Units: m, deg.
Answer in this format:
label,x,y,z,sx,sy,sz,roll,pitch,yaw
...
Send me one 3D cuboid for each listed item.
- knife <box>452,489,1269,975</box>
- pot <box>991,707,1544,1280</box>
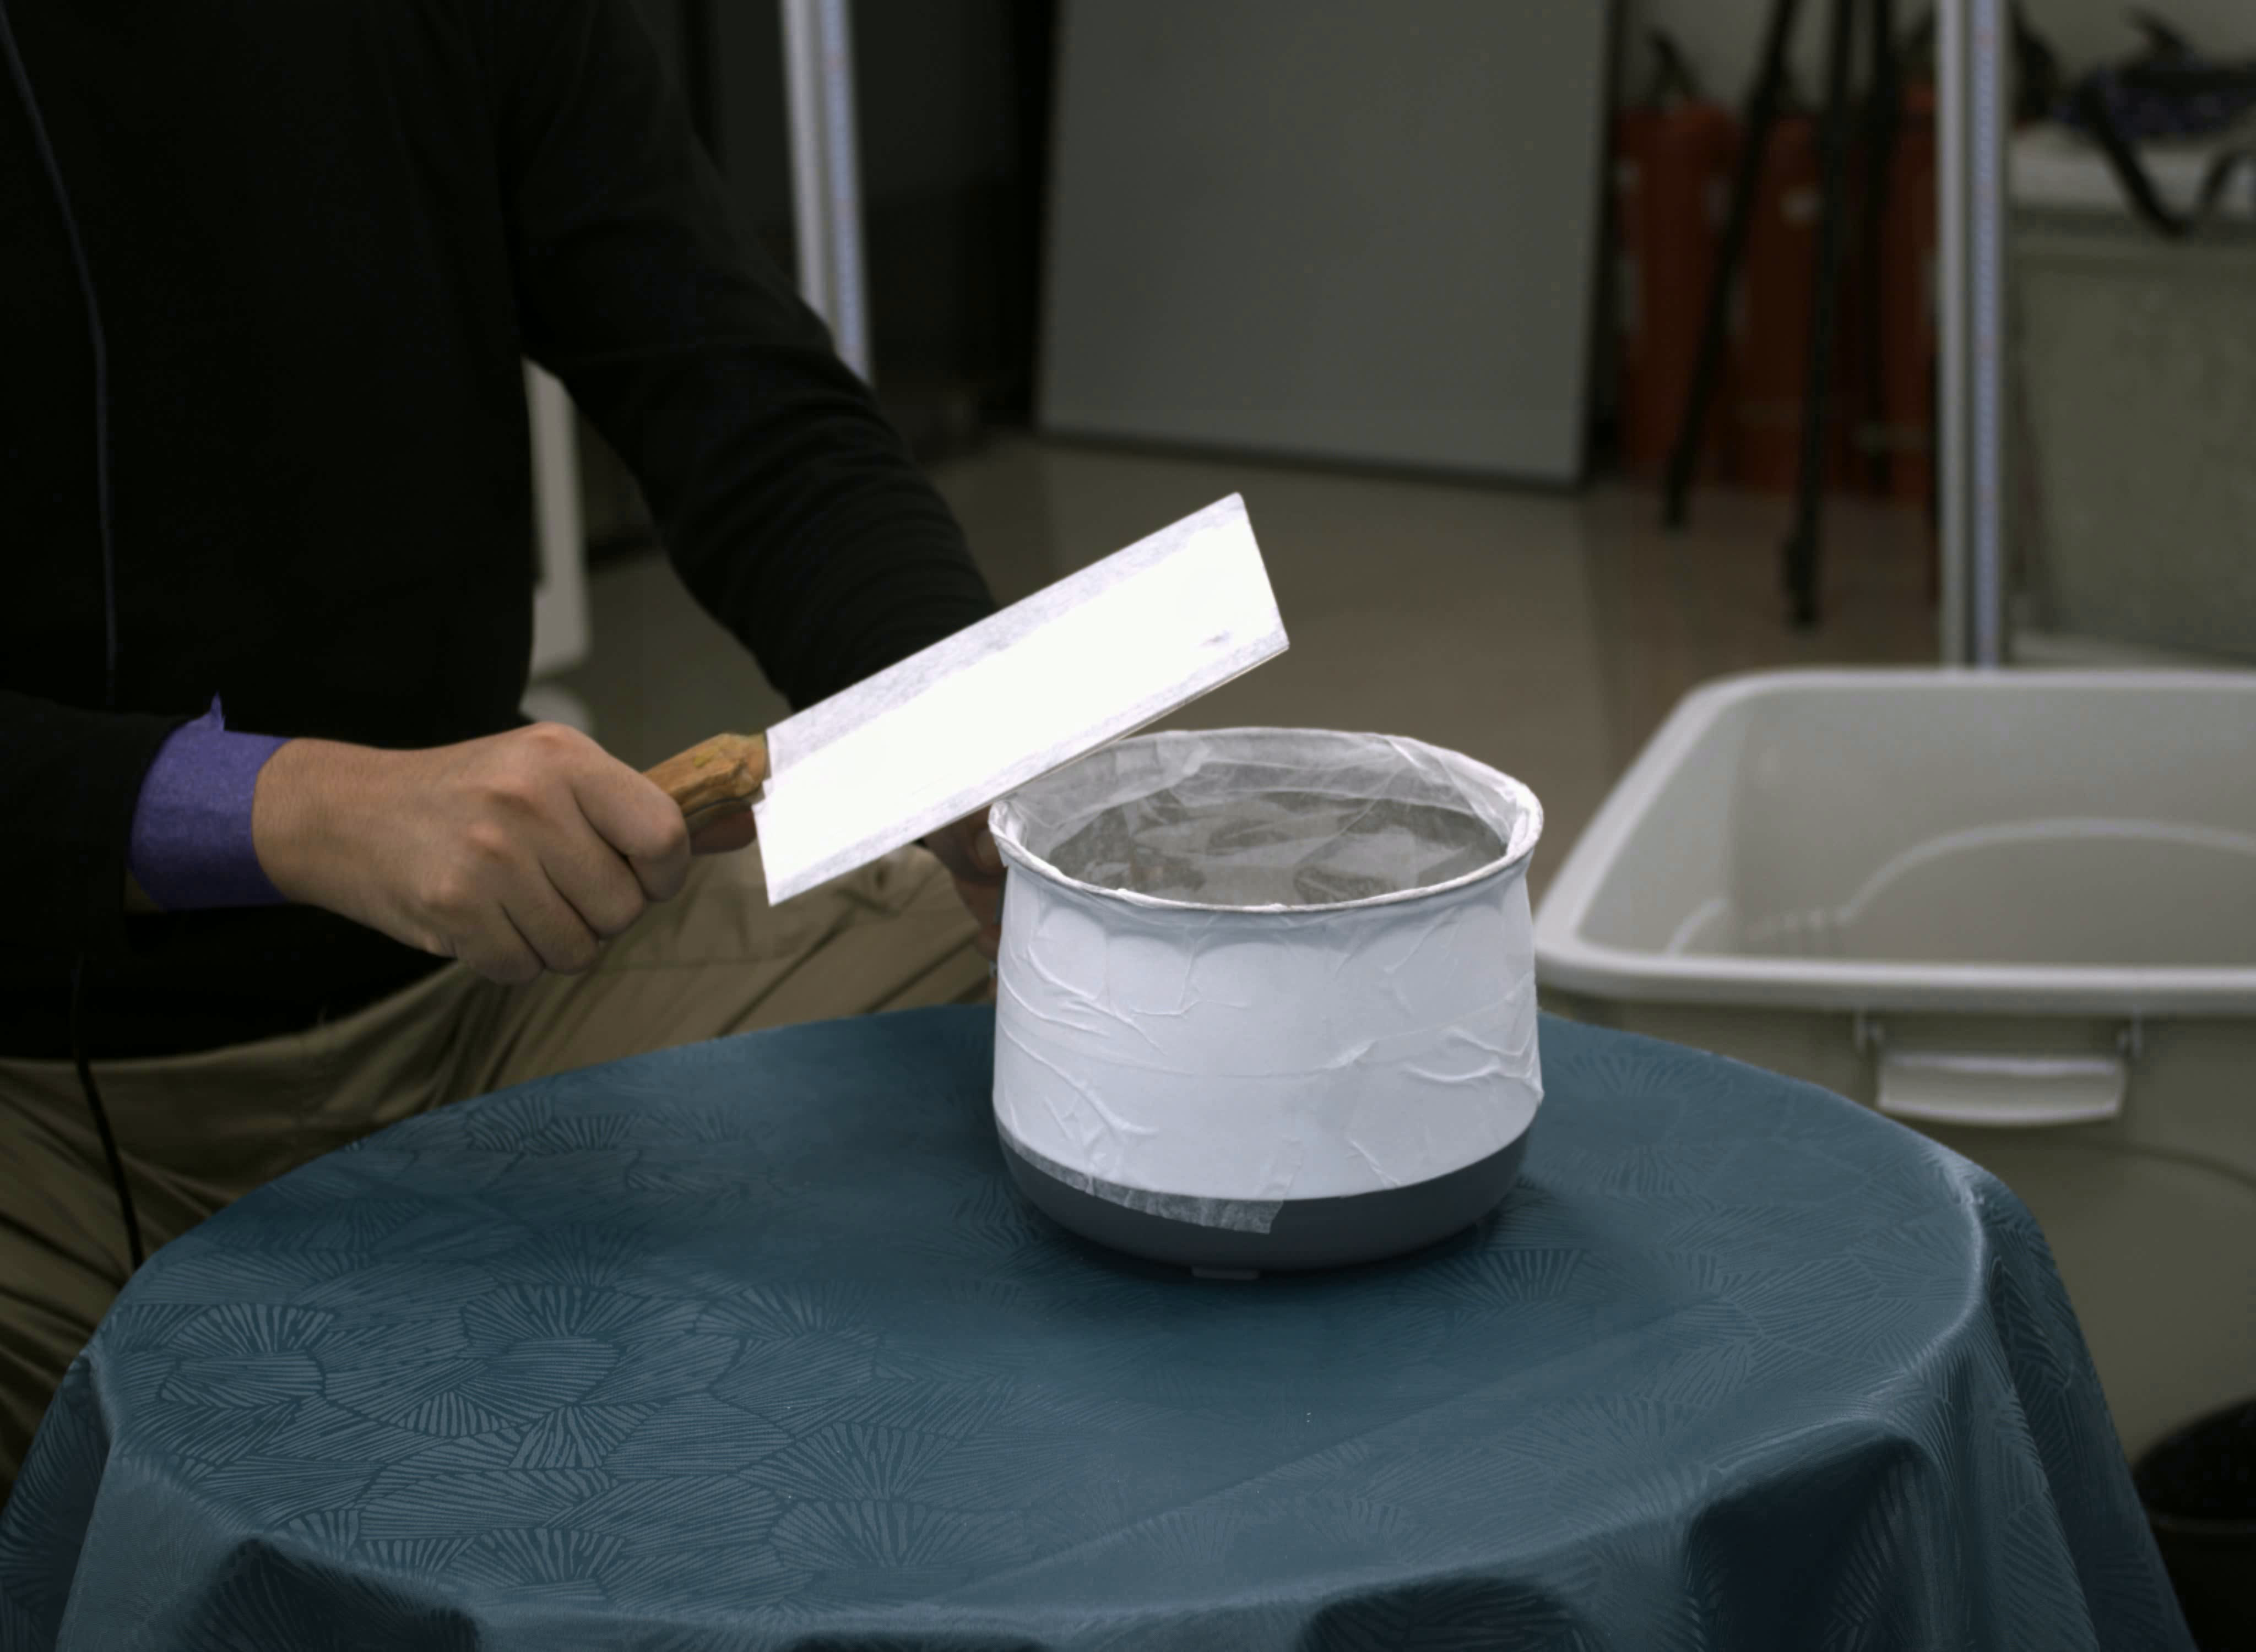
label,x,y,z,sx,sy,sz,roll,pitch,yaw
knife,-0.089,-0.018,1.769,0.305,0.021,0.094,-28,34,11
pot,0.028,0.046,1.744,0.175,0.138,0.236,-12,22,-32
